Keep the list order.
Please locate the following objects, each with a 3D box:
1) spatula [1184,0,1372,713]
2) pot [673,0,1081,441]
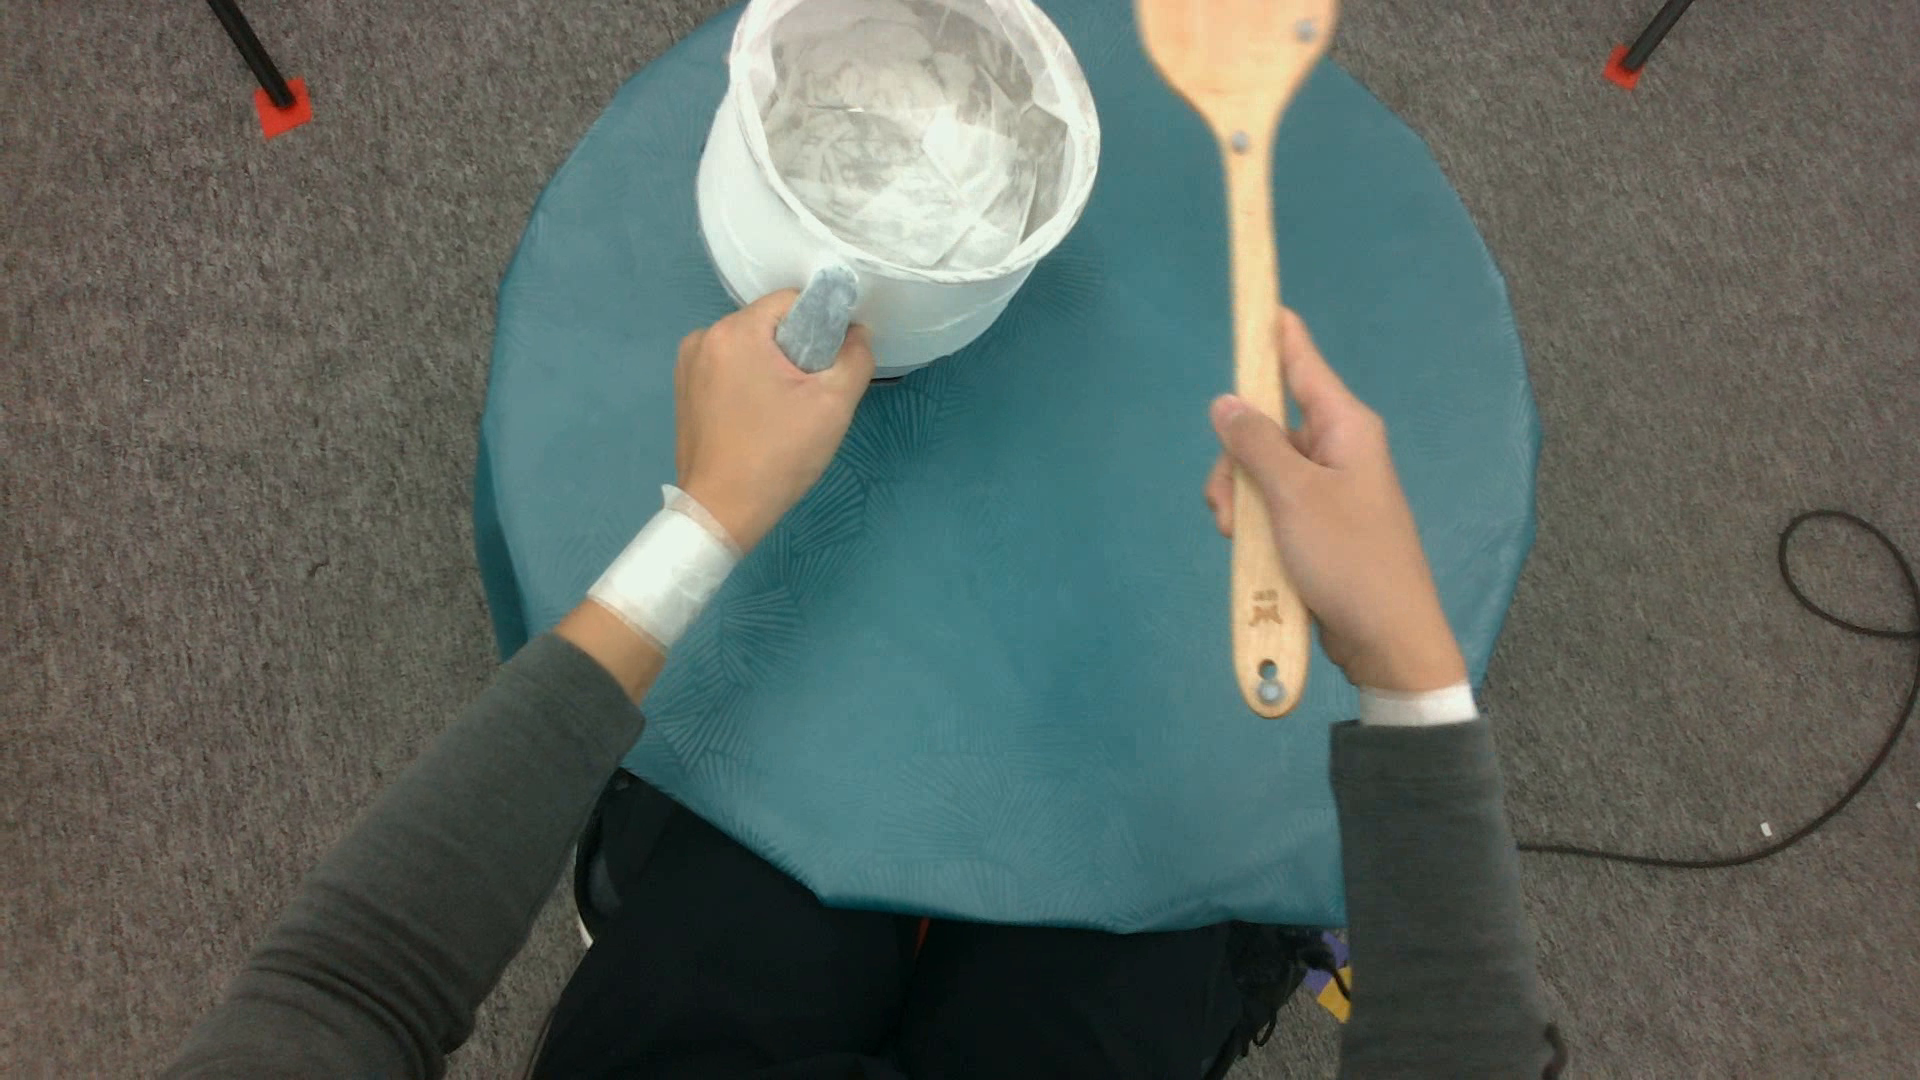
[{"bbox_3d":[0.142,-0.115,0.613,0.095,0.018,0.392,-9,64,32],"label":"spatula"},{"bbox_3d":[-0.055,-0.162,0.679,0.179,0.136,0.234,26,66,-13],"label":"pot"}]
